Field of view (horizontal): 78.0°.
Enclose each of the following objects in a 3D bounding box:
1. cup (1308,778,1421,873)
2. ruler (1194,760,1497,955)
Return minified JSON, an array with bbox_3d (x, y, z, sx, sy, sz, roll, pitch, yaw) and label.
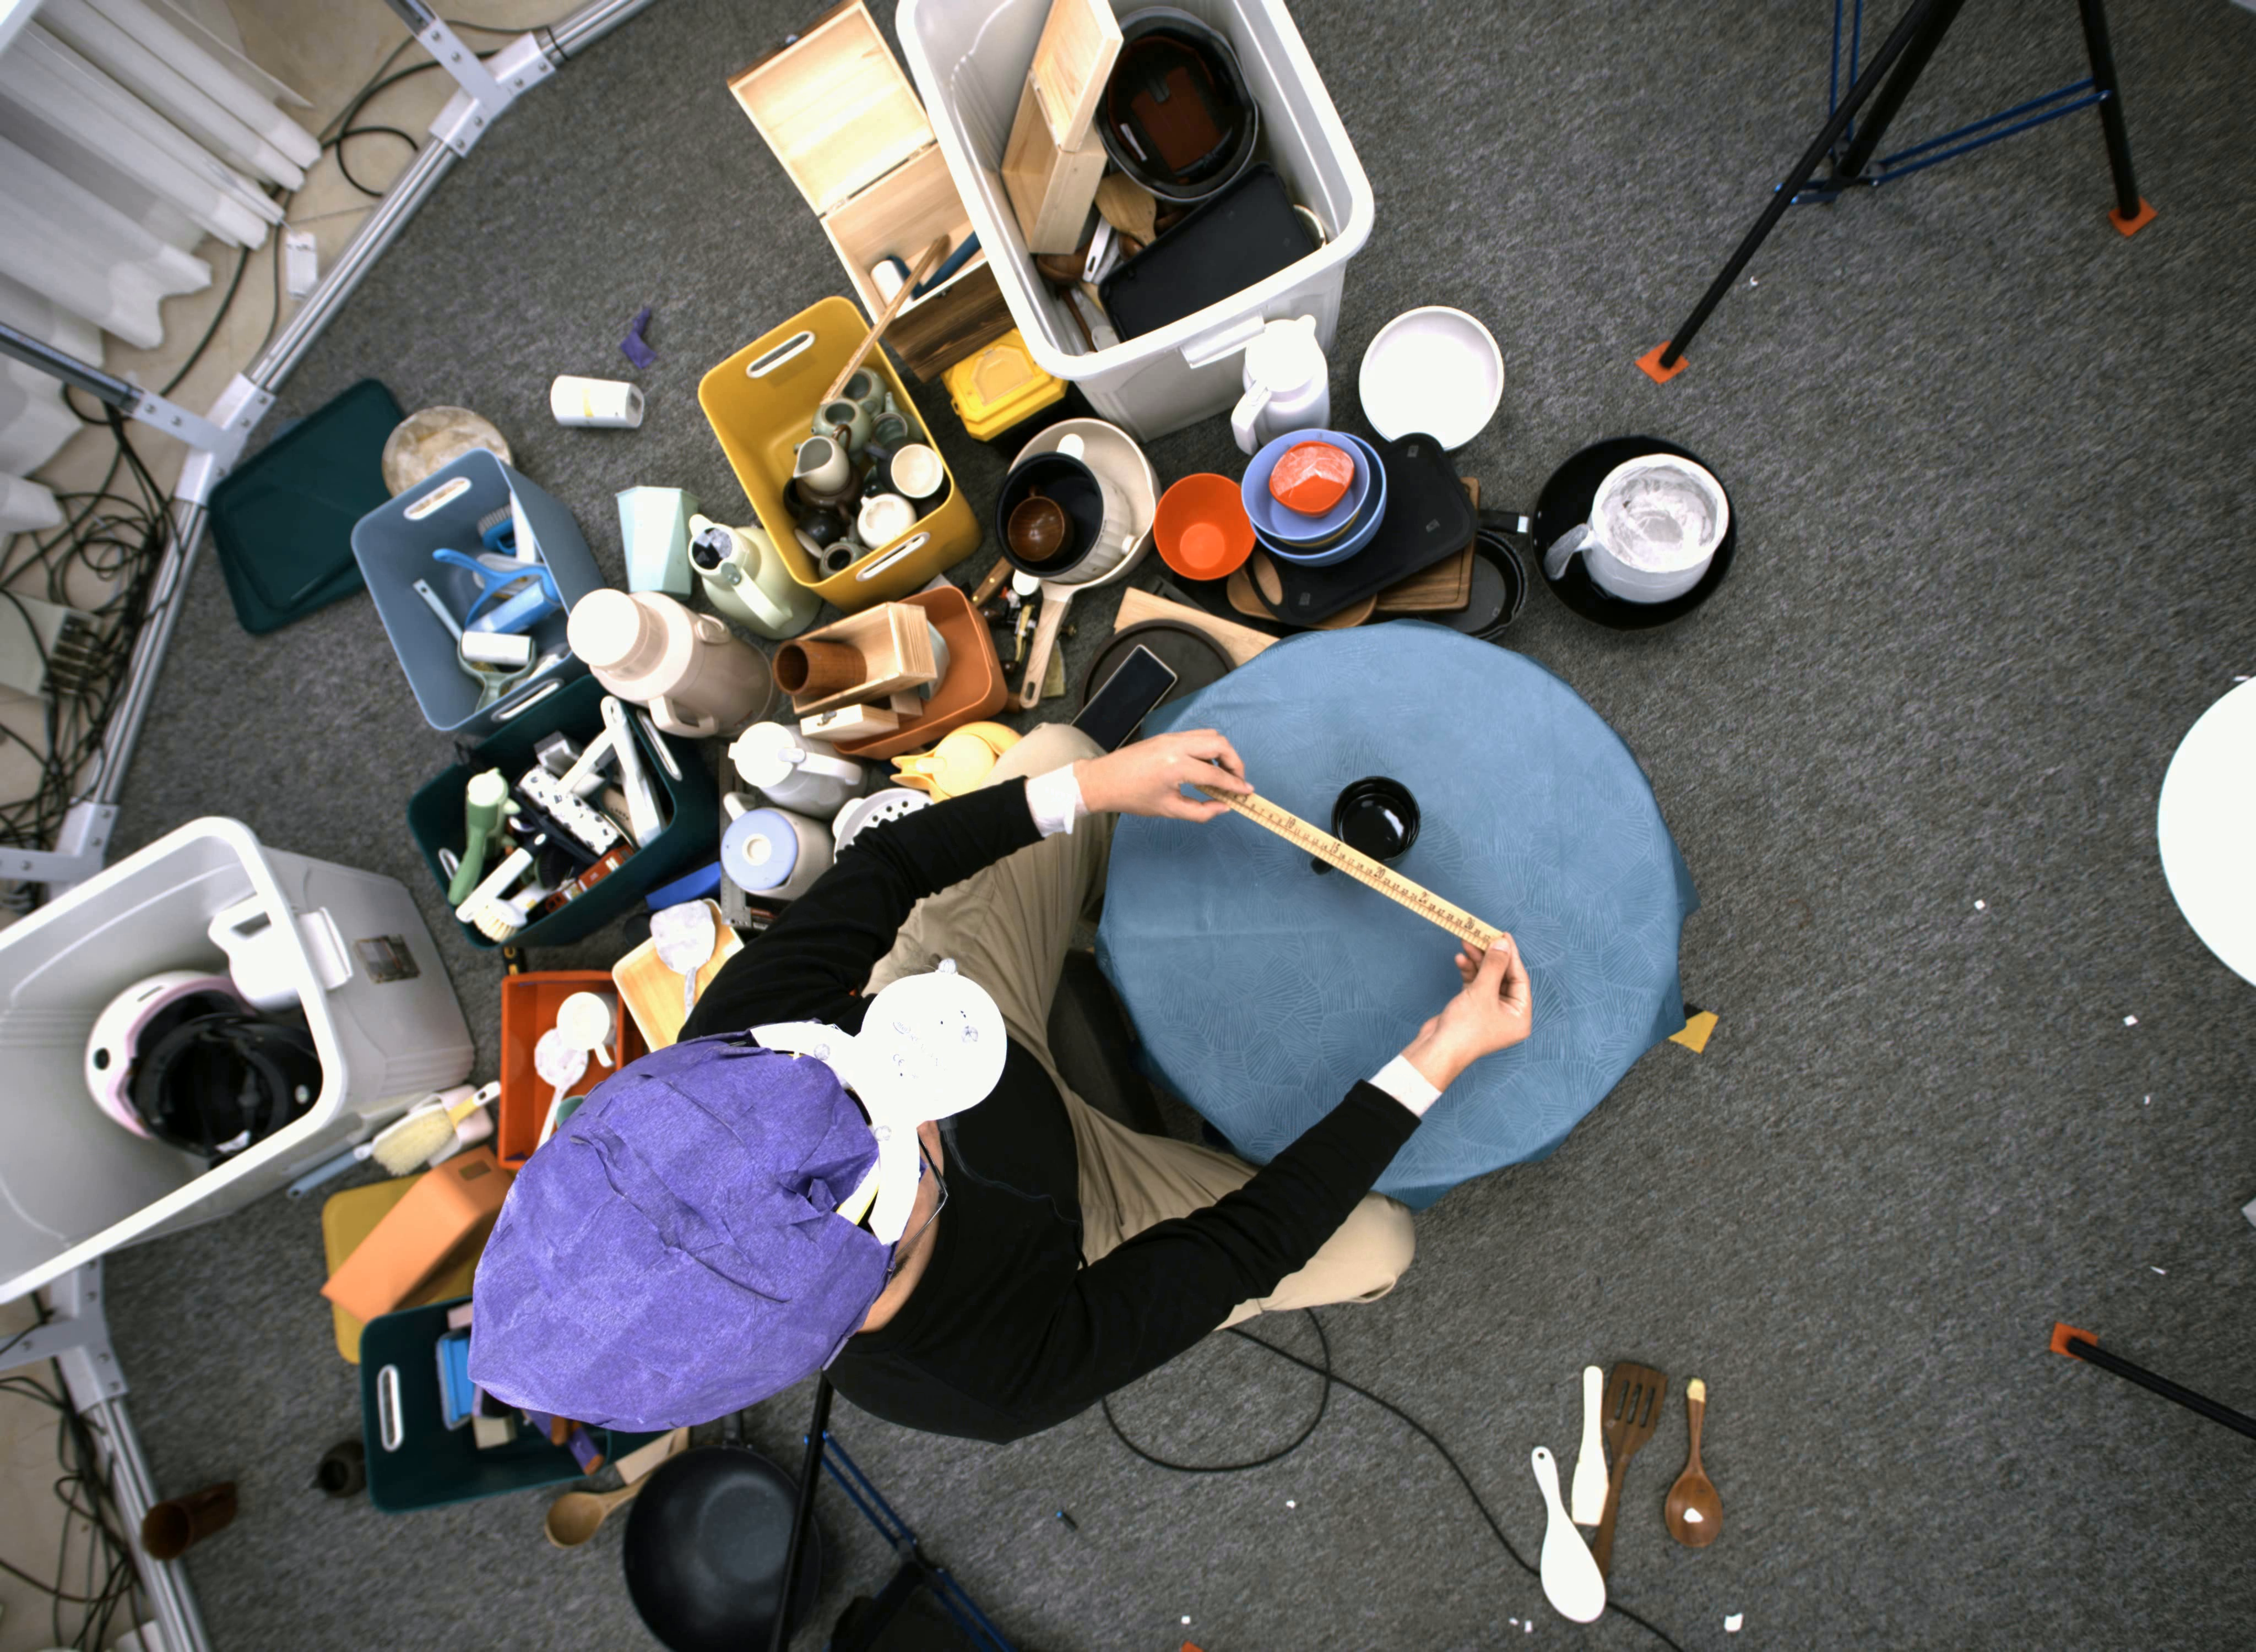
[{"bbox_3d":[0.239,0.008,1.417,0.124,0.105,0.088,-35,82,5],"label":"cup"},{"bbox_3d":[0.212,0.028,1.352,0.331,0.022,0.027,31,80,6],"label":"ruler"}]
